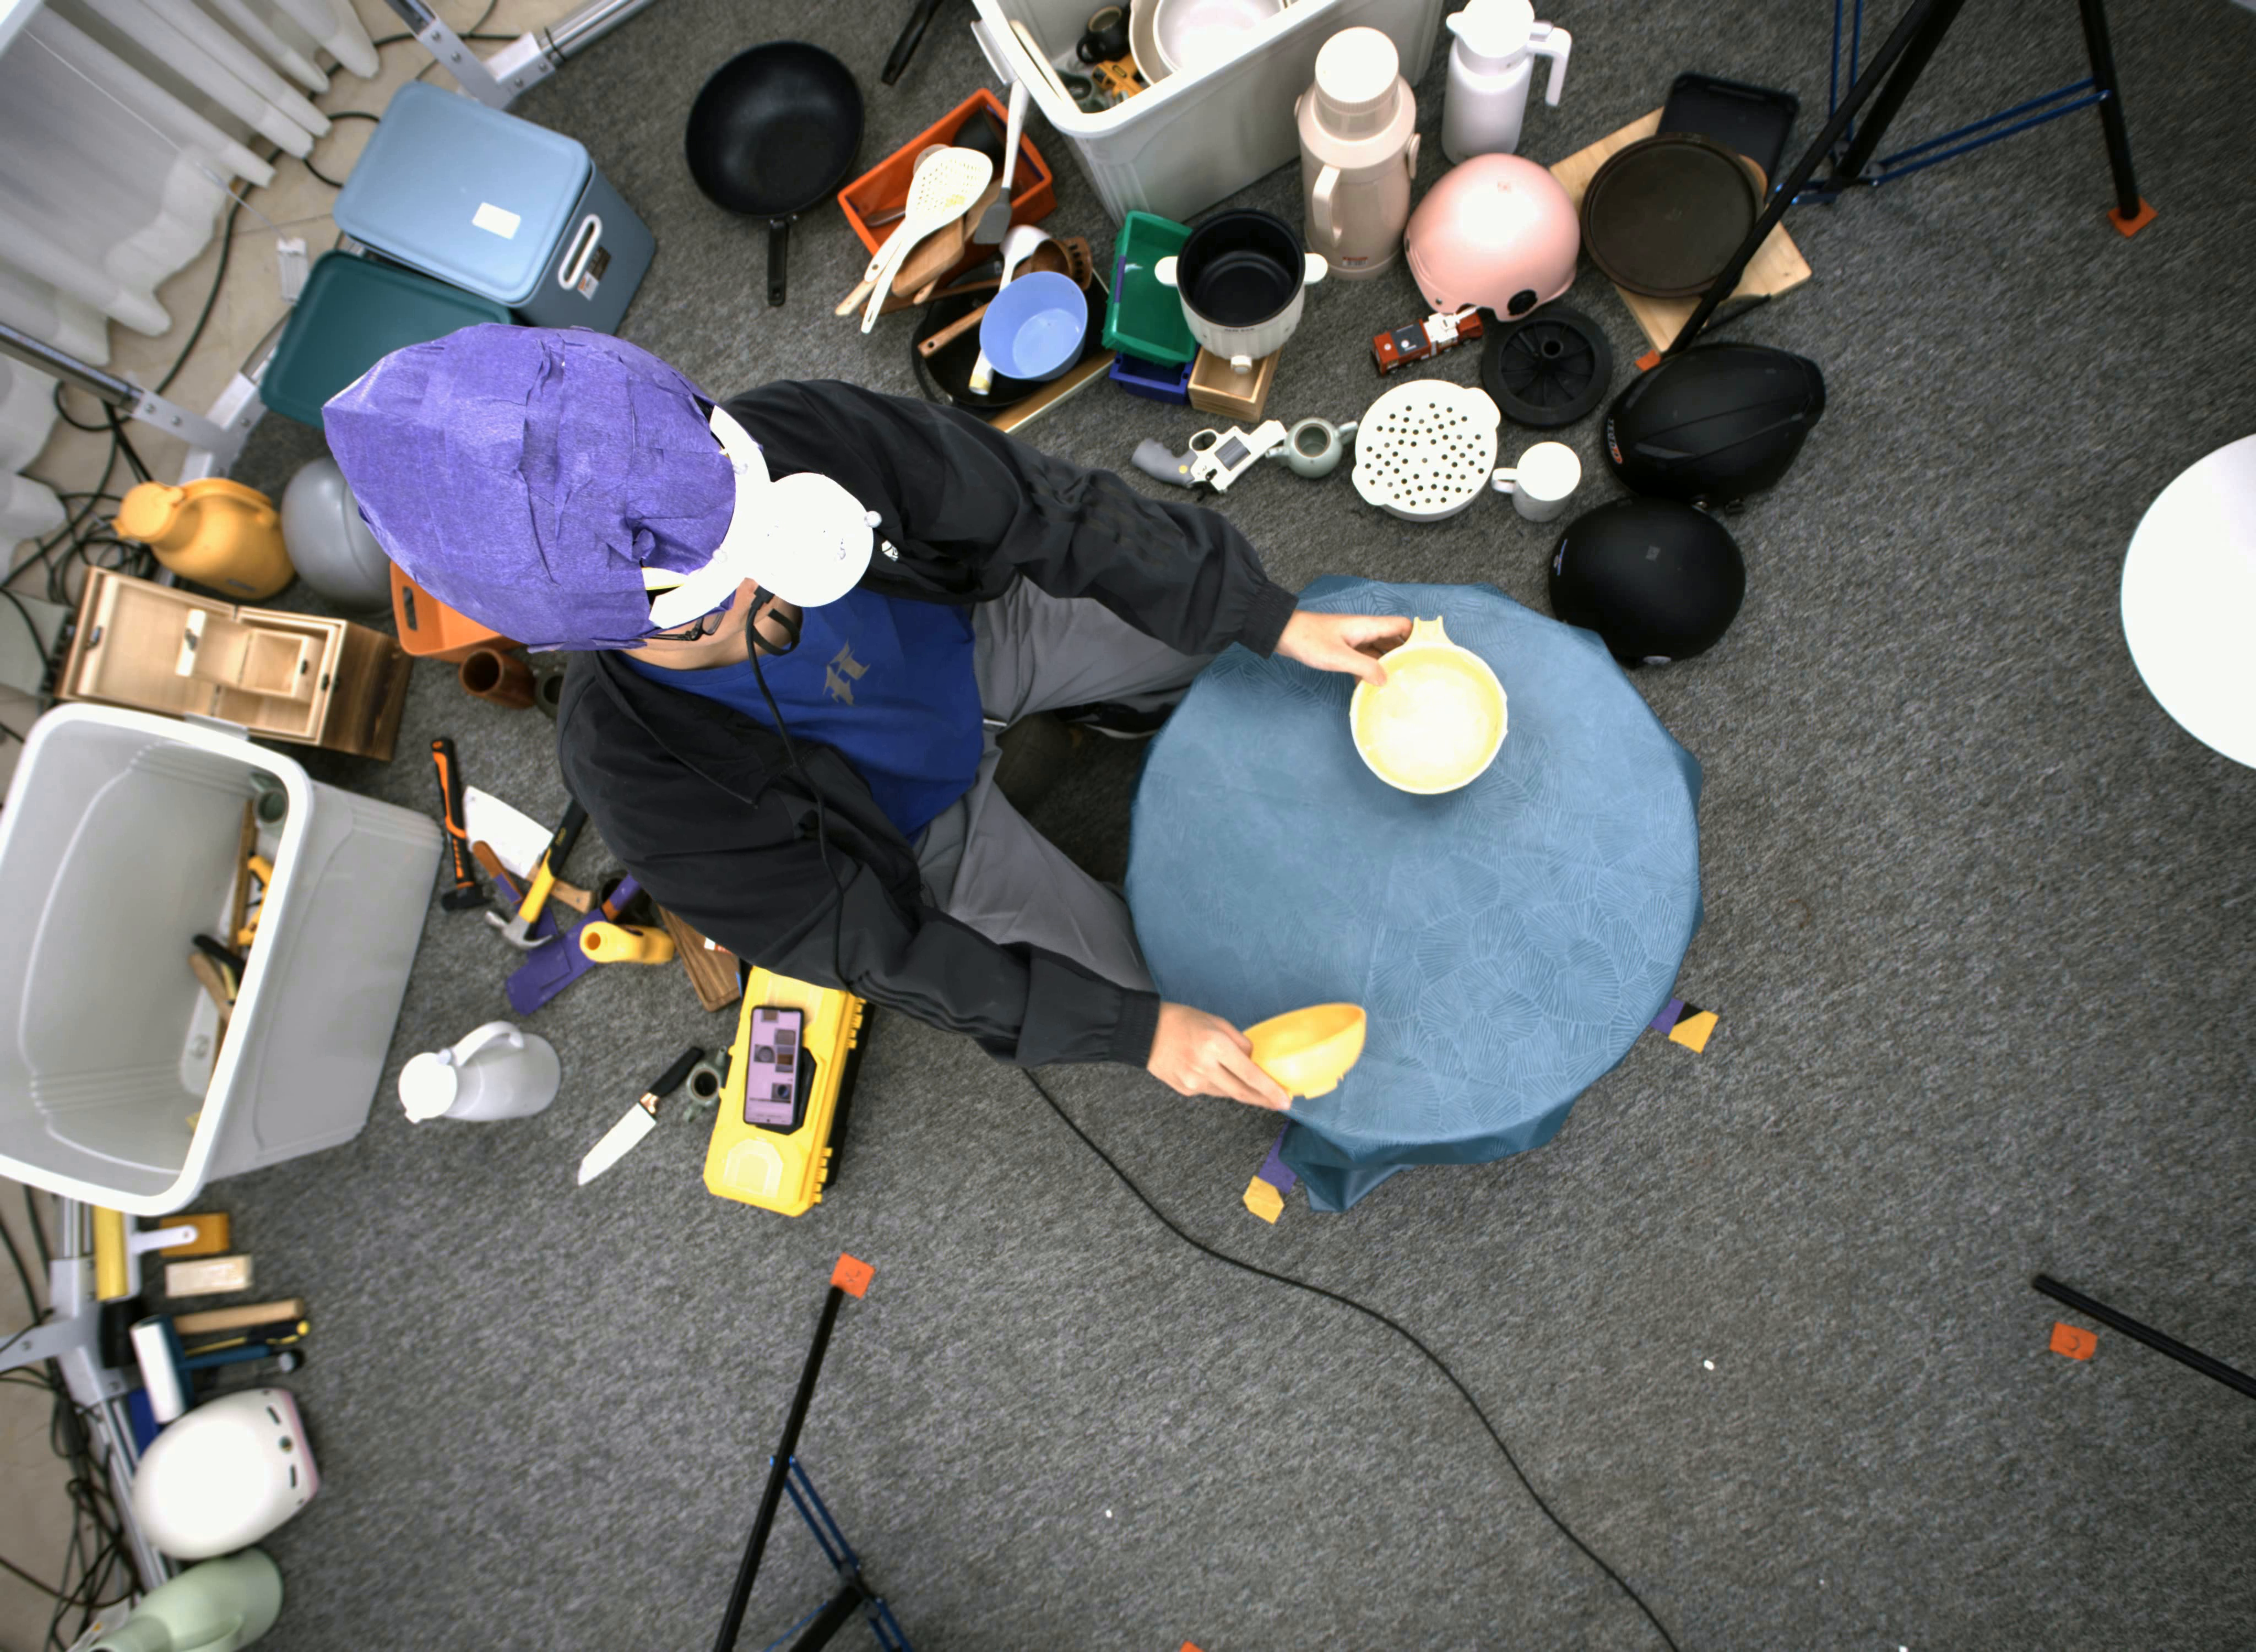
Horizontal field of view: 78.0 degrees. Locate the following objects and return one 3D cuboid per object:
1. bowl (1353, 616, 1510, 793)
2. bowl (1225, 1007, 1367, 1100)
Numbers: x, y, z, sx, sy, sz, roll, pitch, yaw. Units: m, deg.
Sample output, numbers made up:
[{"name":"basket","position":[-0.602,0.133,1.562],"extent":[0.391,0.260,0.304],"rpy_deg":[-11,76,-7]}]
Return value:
[{"name":"bowl","position":[0.306,-0.122,1.385],"extent":[0.154,0.074,0.179],"rpy_deg":[-5,89,15]},{"name":"bowl","position":[0.173,0.232,1.384],"extent":[0.146,0.143,0.060],"rpy_deg":[-14,99,9]}]
